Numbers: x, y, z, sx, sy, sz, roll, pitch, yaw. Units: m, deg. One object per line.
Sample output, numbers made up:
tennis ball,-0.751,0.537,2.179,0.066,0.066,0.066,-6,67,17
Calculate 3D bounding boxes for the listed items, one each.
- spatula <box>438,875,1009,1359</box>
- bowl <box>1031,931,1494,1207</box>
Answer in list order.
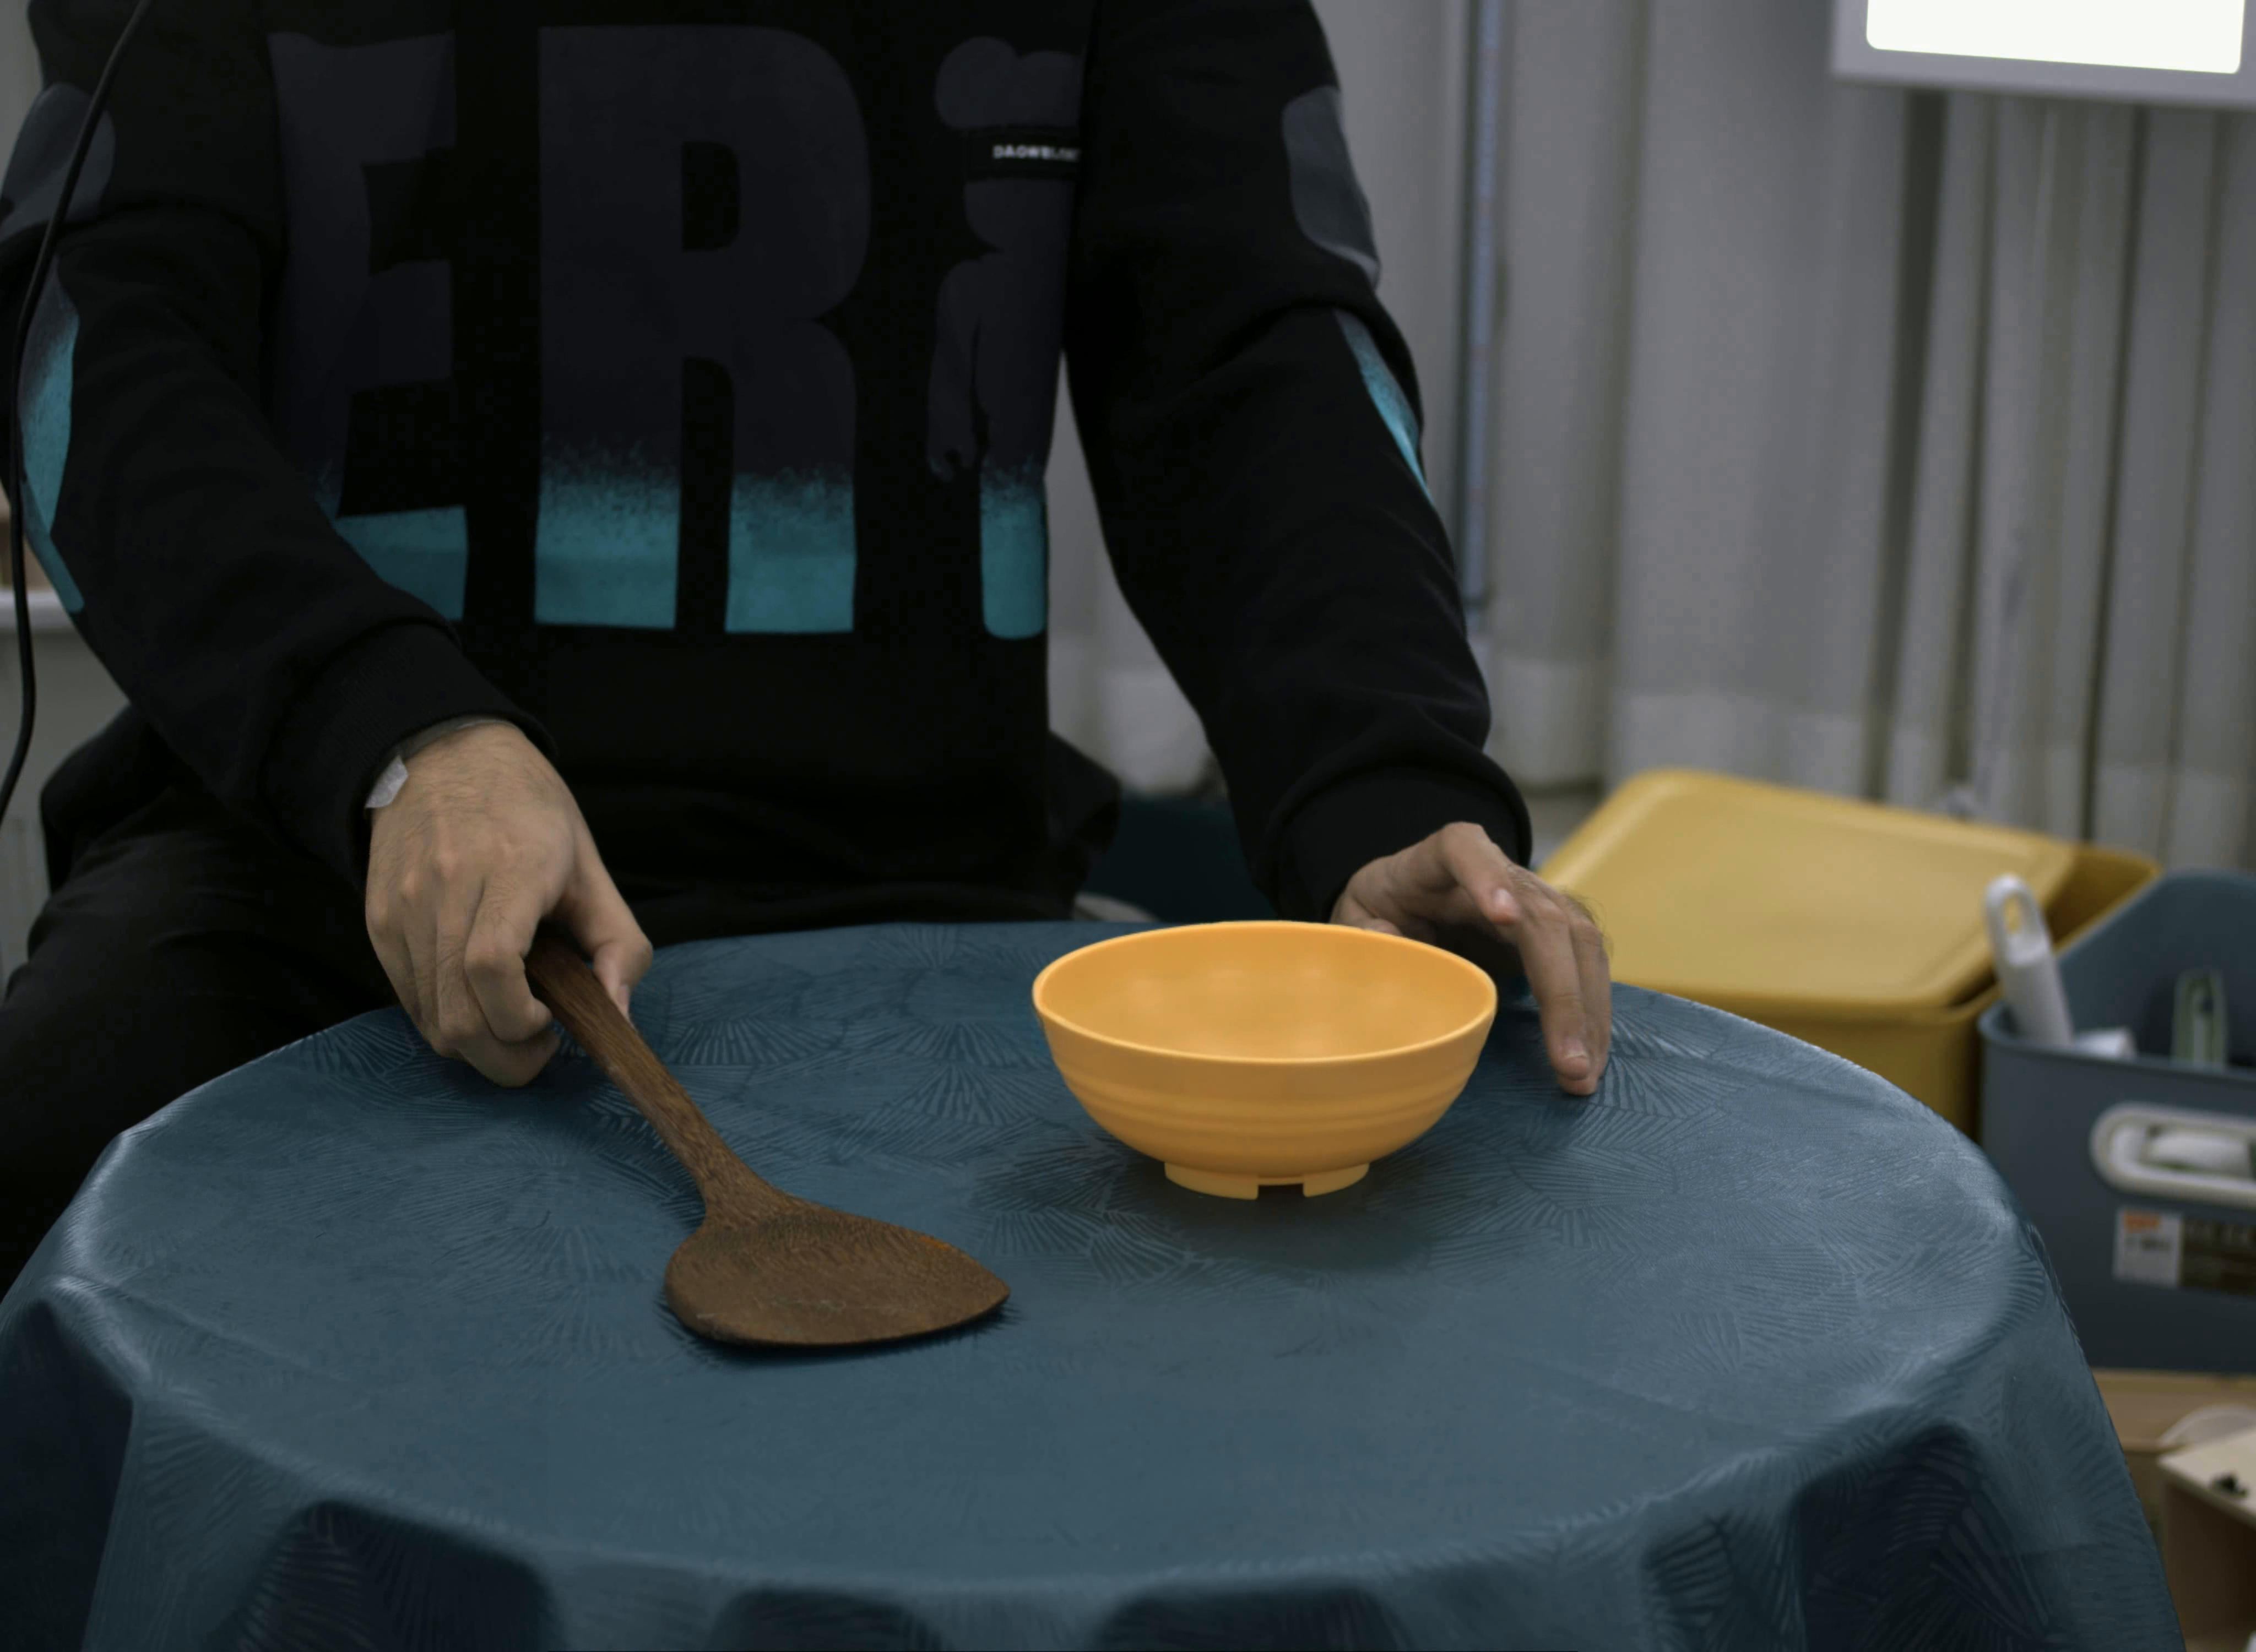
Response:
spatula,-0.149,0.083,1.651,0.096,0.016,0.381,-6,23,-25
bowl,0.040,0.080,1.641,0.145,0.060,0.144,3,14,0
